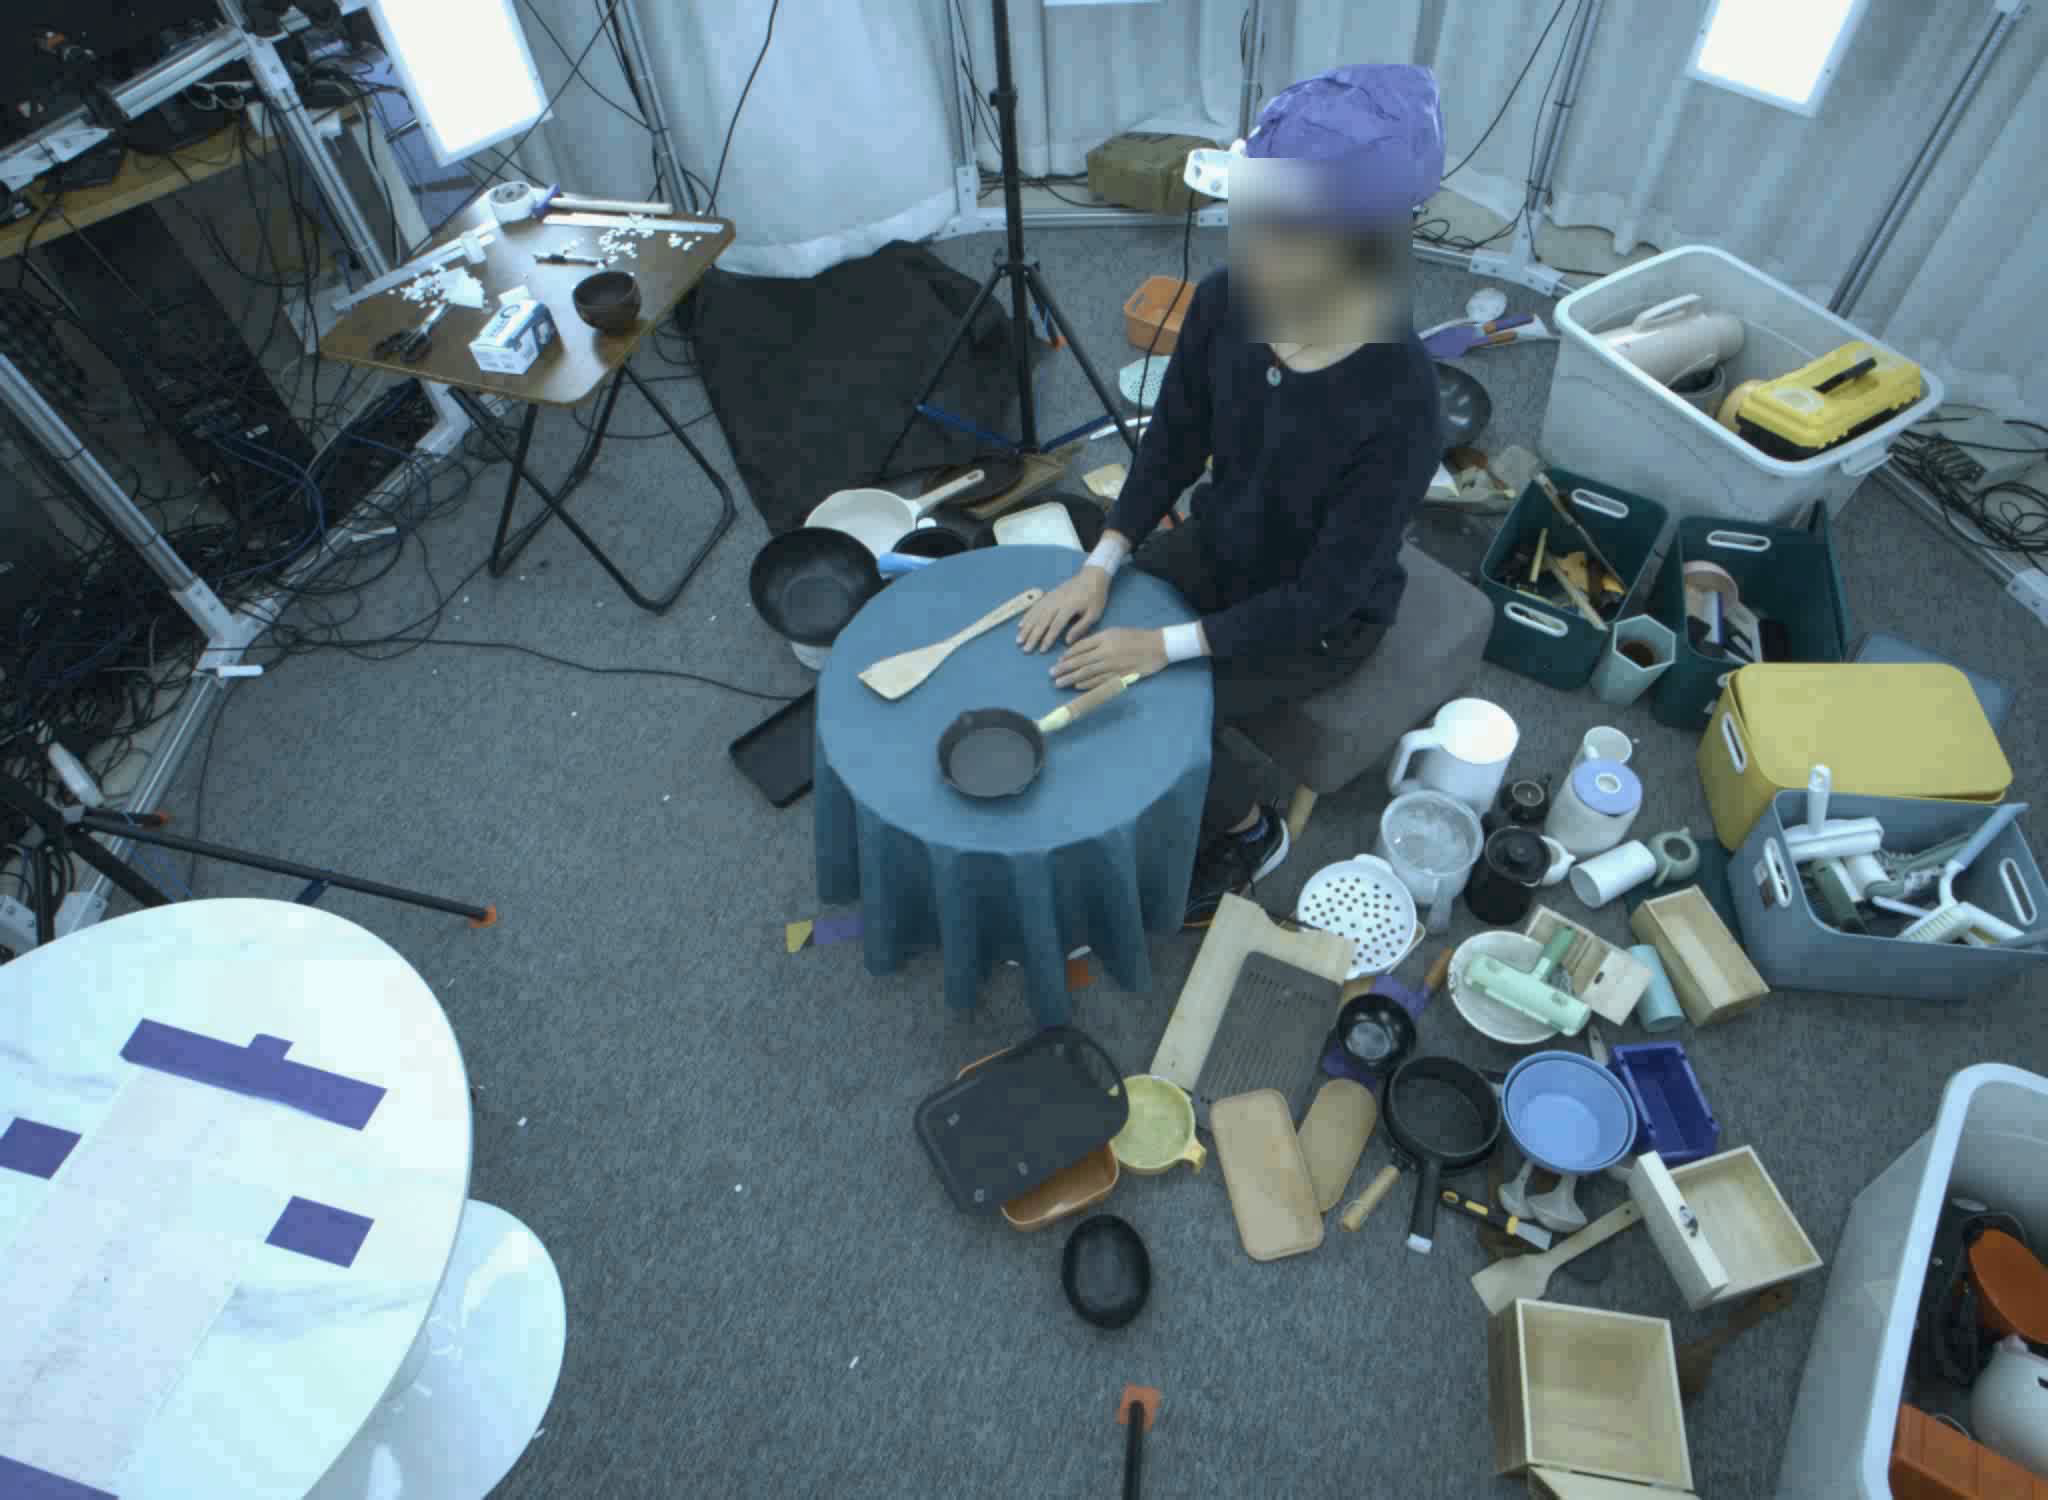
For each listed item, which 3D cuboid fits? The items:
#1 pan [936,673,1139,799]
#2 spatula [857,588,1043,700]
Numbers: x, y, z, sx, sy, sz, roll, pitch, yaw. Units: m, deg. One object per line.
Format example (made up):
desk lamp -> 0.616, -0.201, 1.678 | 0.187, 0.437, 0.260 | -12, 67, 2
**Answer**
pan -> 0.027, -0.031, 1.776 | 0.326, 0.050, 0.166 | -26, 58, -14
spatula -> -0.104, -0.172, 1.903 | 0.330, 0.017, 0.078 | -33, 61, -19
